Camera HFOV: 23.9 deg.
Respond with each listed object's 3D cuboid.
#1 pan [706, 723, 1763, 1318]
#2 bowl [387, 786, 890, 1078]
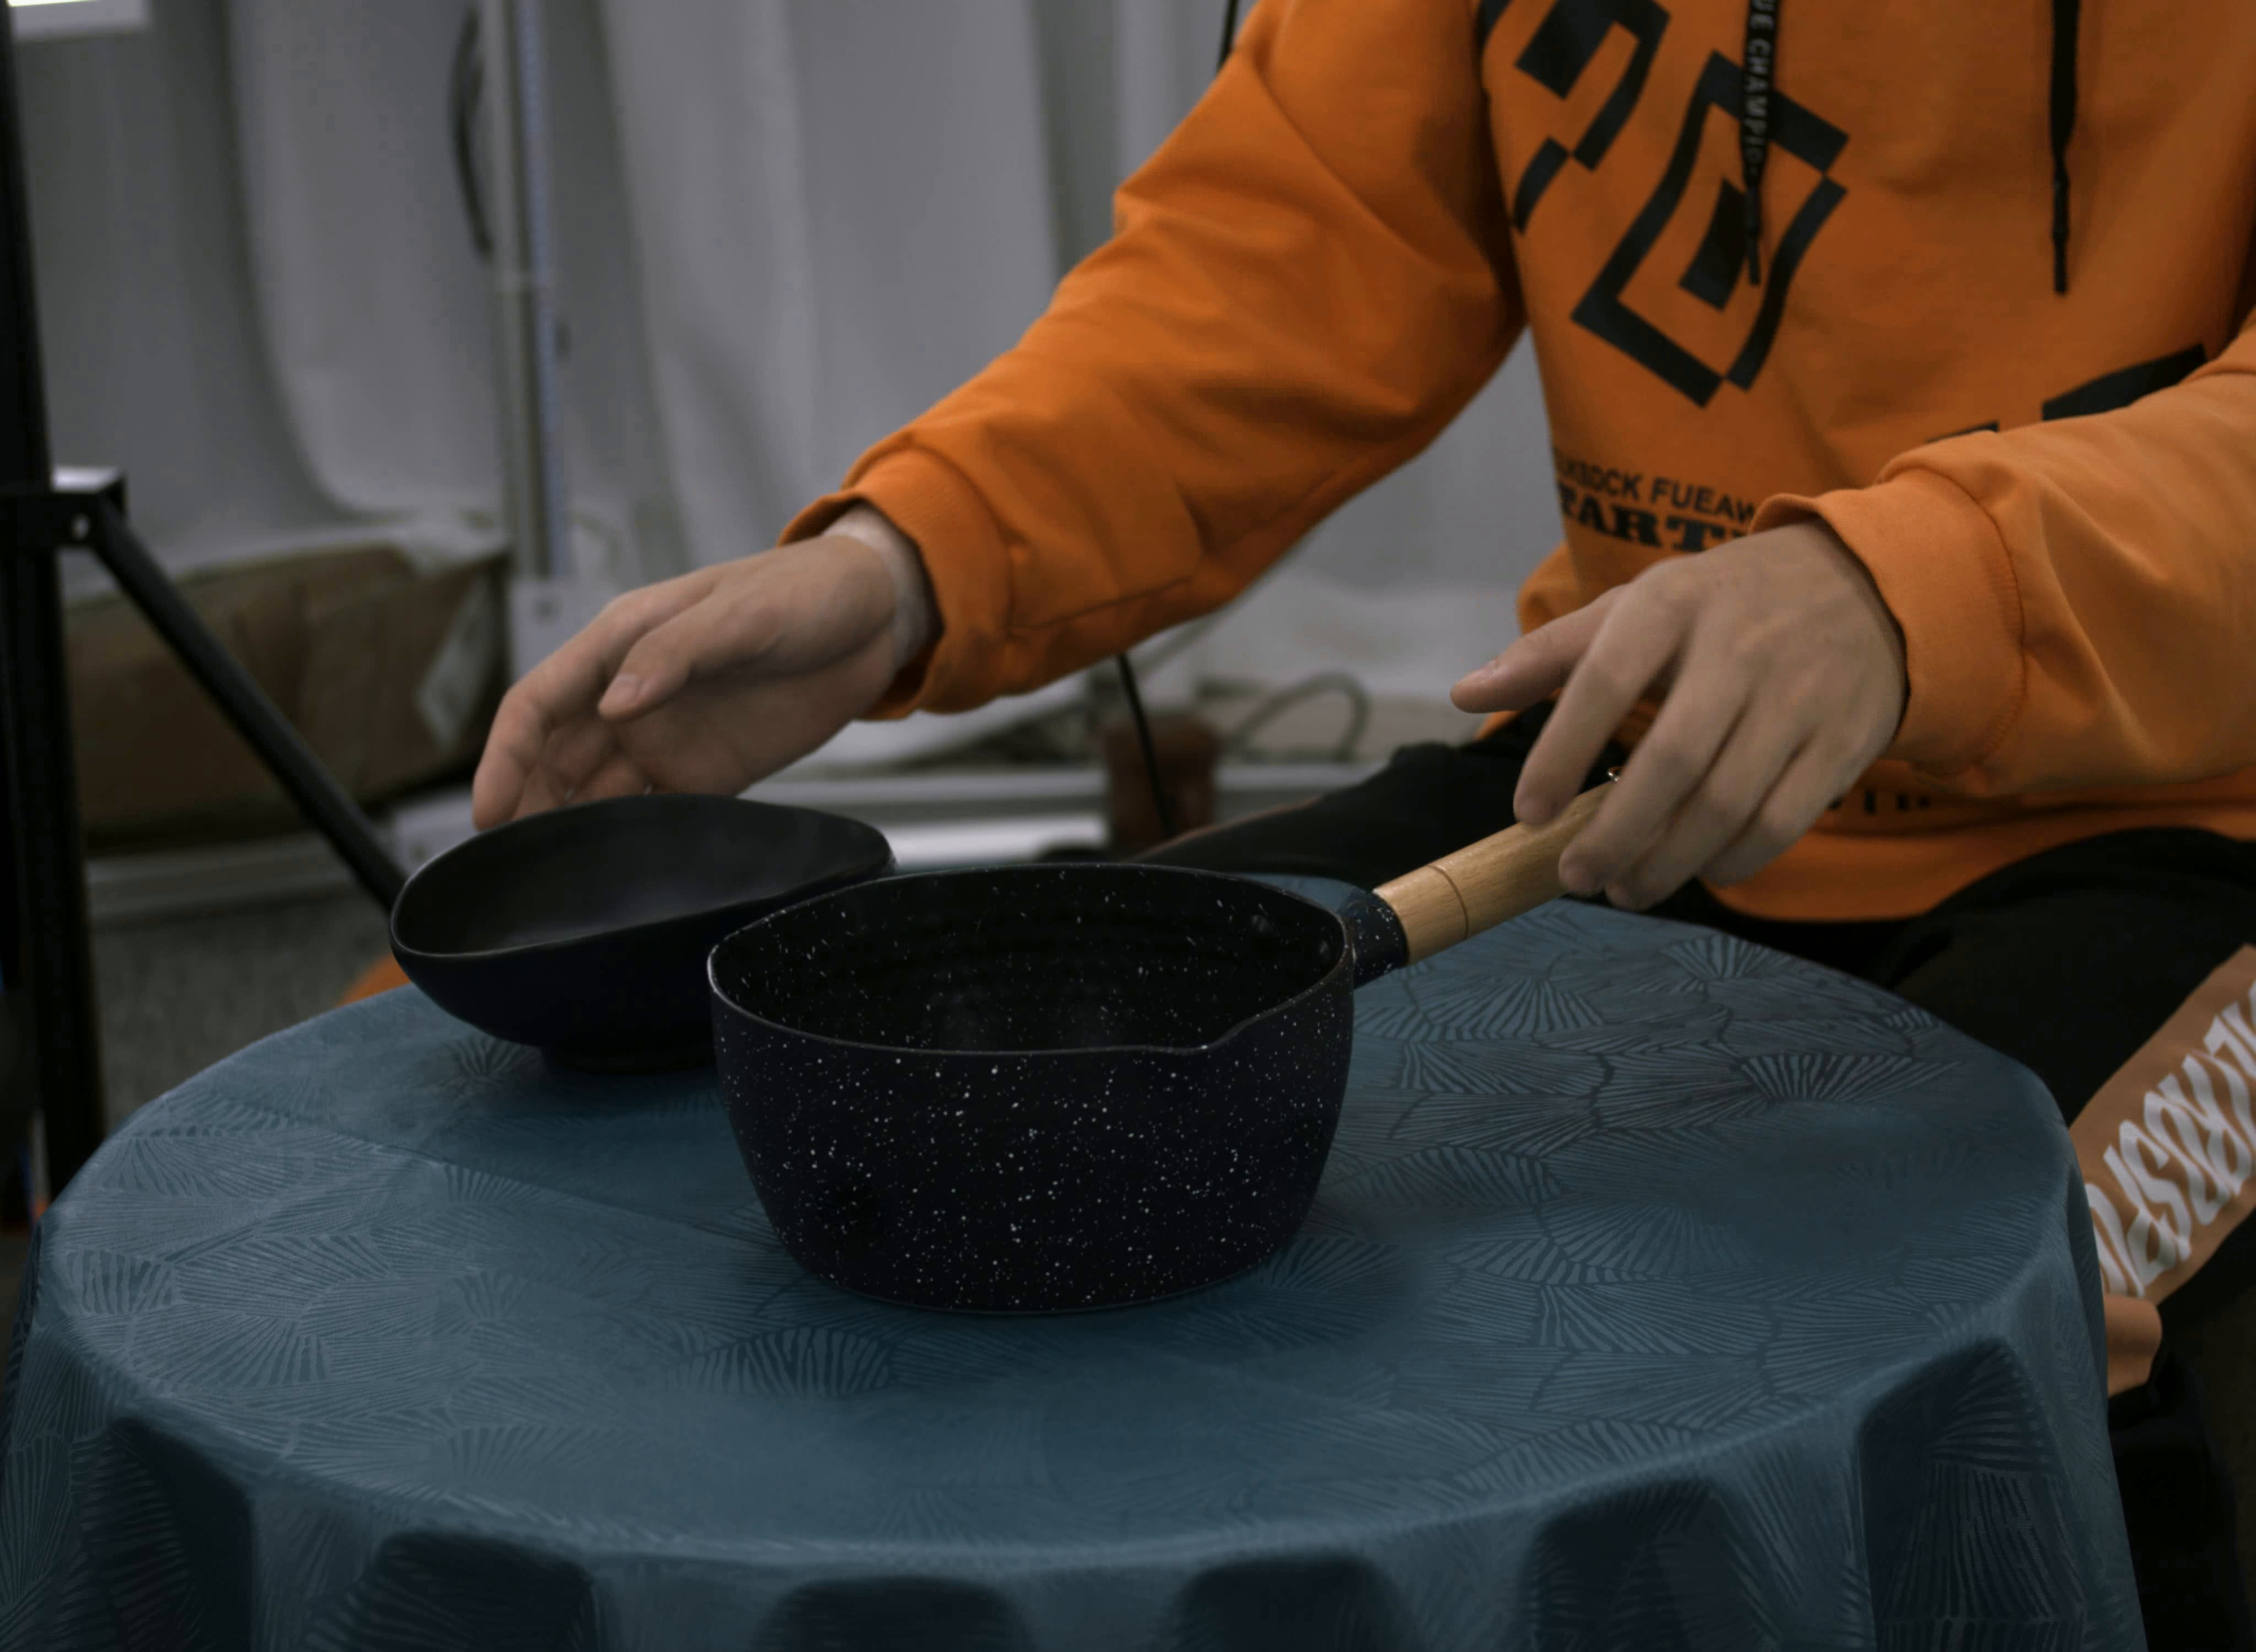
[{"bbox_3d":[0.042,0.052,1.553,0.336,0.108,0.212,-12,17,-26],"label":"pan"},{"bbox_3d":[-0.153,0.040,1.710,0.166,0.066,0.140,-16,20,-33],"label":"bowl"}]
